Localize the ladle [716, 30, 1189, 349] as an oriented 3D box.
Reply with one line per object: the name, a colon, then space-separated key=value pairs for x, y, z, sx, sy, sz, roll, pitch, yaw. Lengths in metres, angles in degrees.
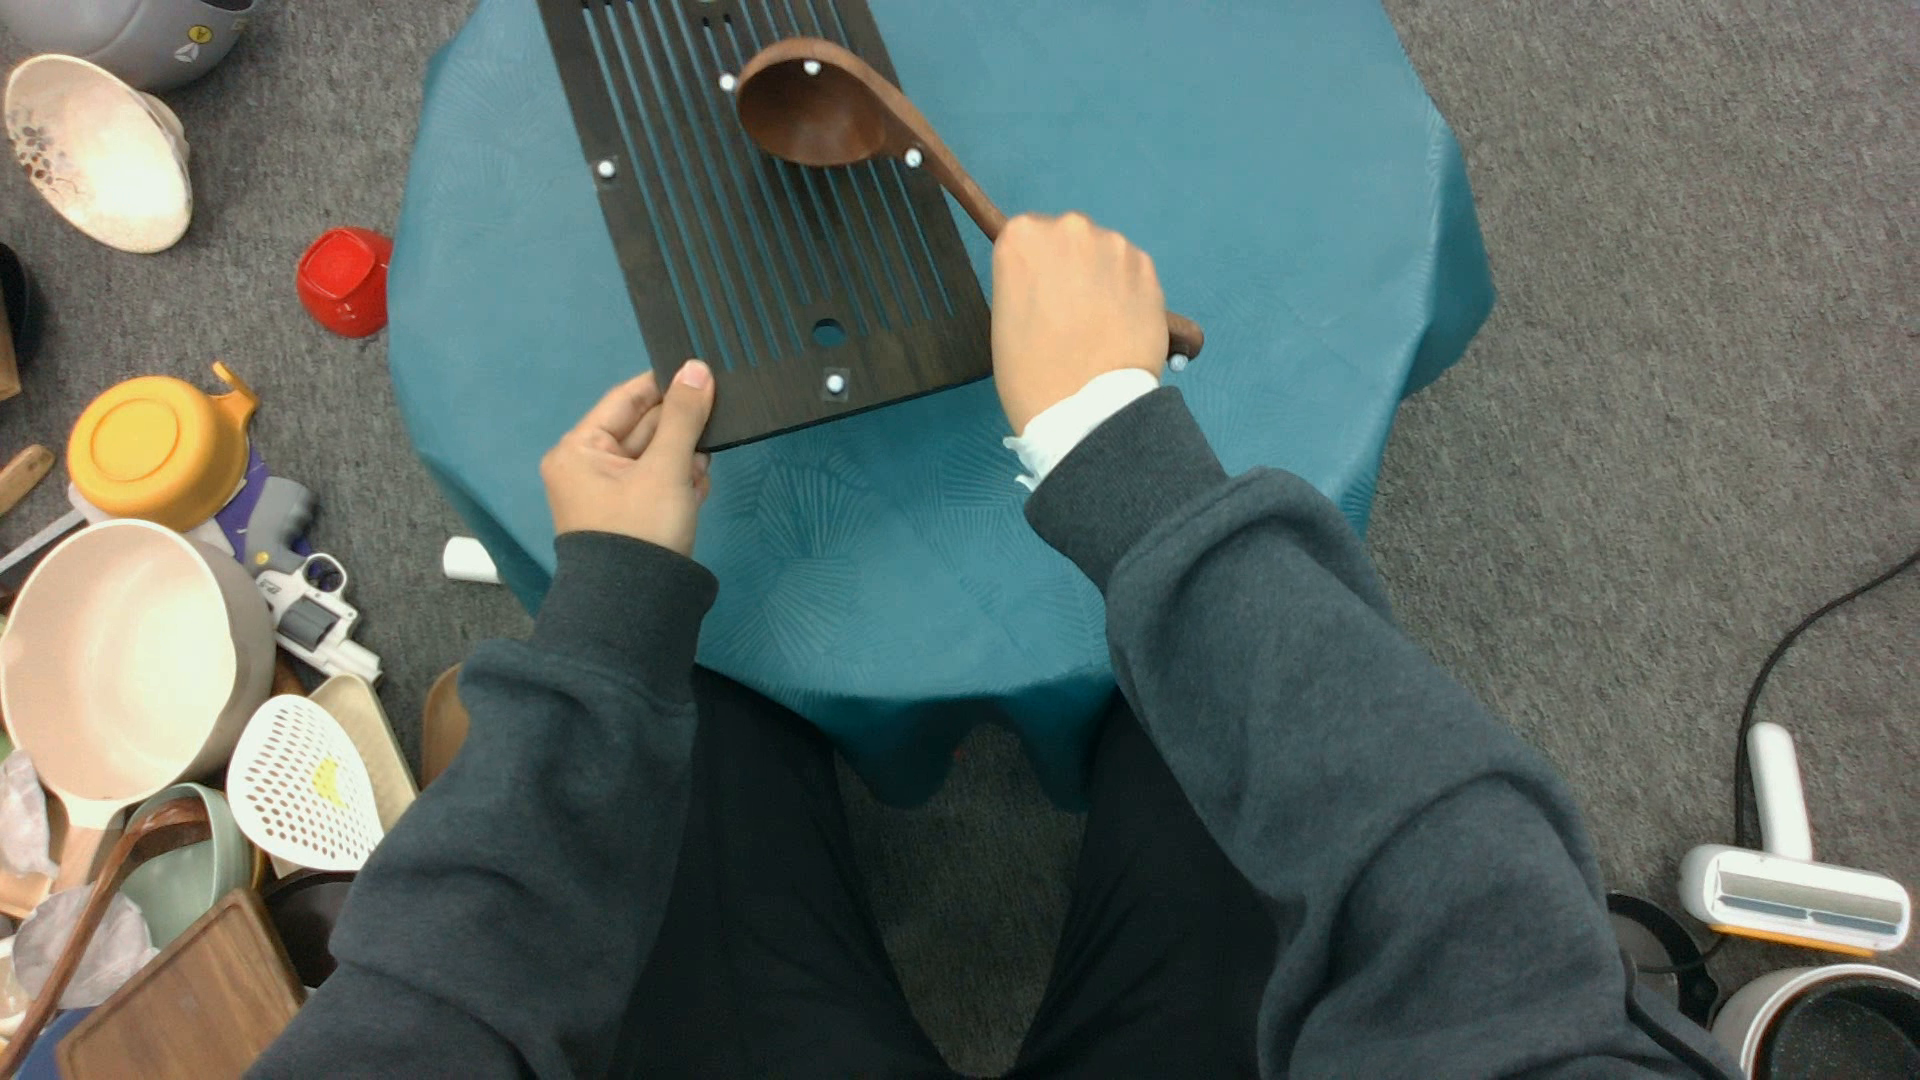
ladle: x=-0.009 y=-0.157 z=0.655 sx=0.260 sy=0.076 sz=0.065 roll=41 pitch=72 yaw=14

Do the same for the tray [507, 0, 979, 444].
tray: x=-0.119 y=-0.200 z=0.715 sx=0.170 sy=0.018 sz=0.306 roll=-17 pitch=73 yaw=-15
